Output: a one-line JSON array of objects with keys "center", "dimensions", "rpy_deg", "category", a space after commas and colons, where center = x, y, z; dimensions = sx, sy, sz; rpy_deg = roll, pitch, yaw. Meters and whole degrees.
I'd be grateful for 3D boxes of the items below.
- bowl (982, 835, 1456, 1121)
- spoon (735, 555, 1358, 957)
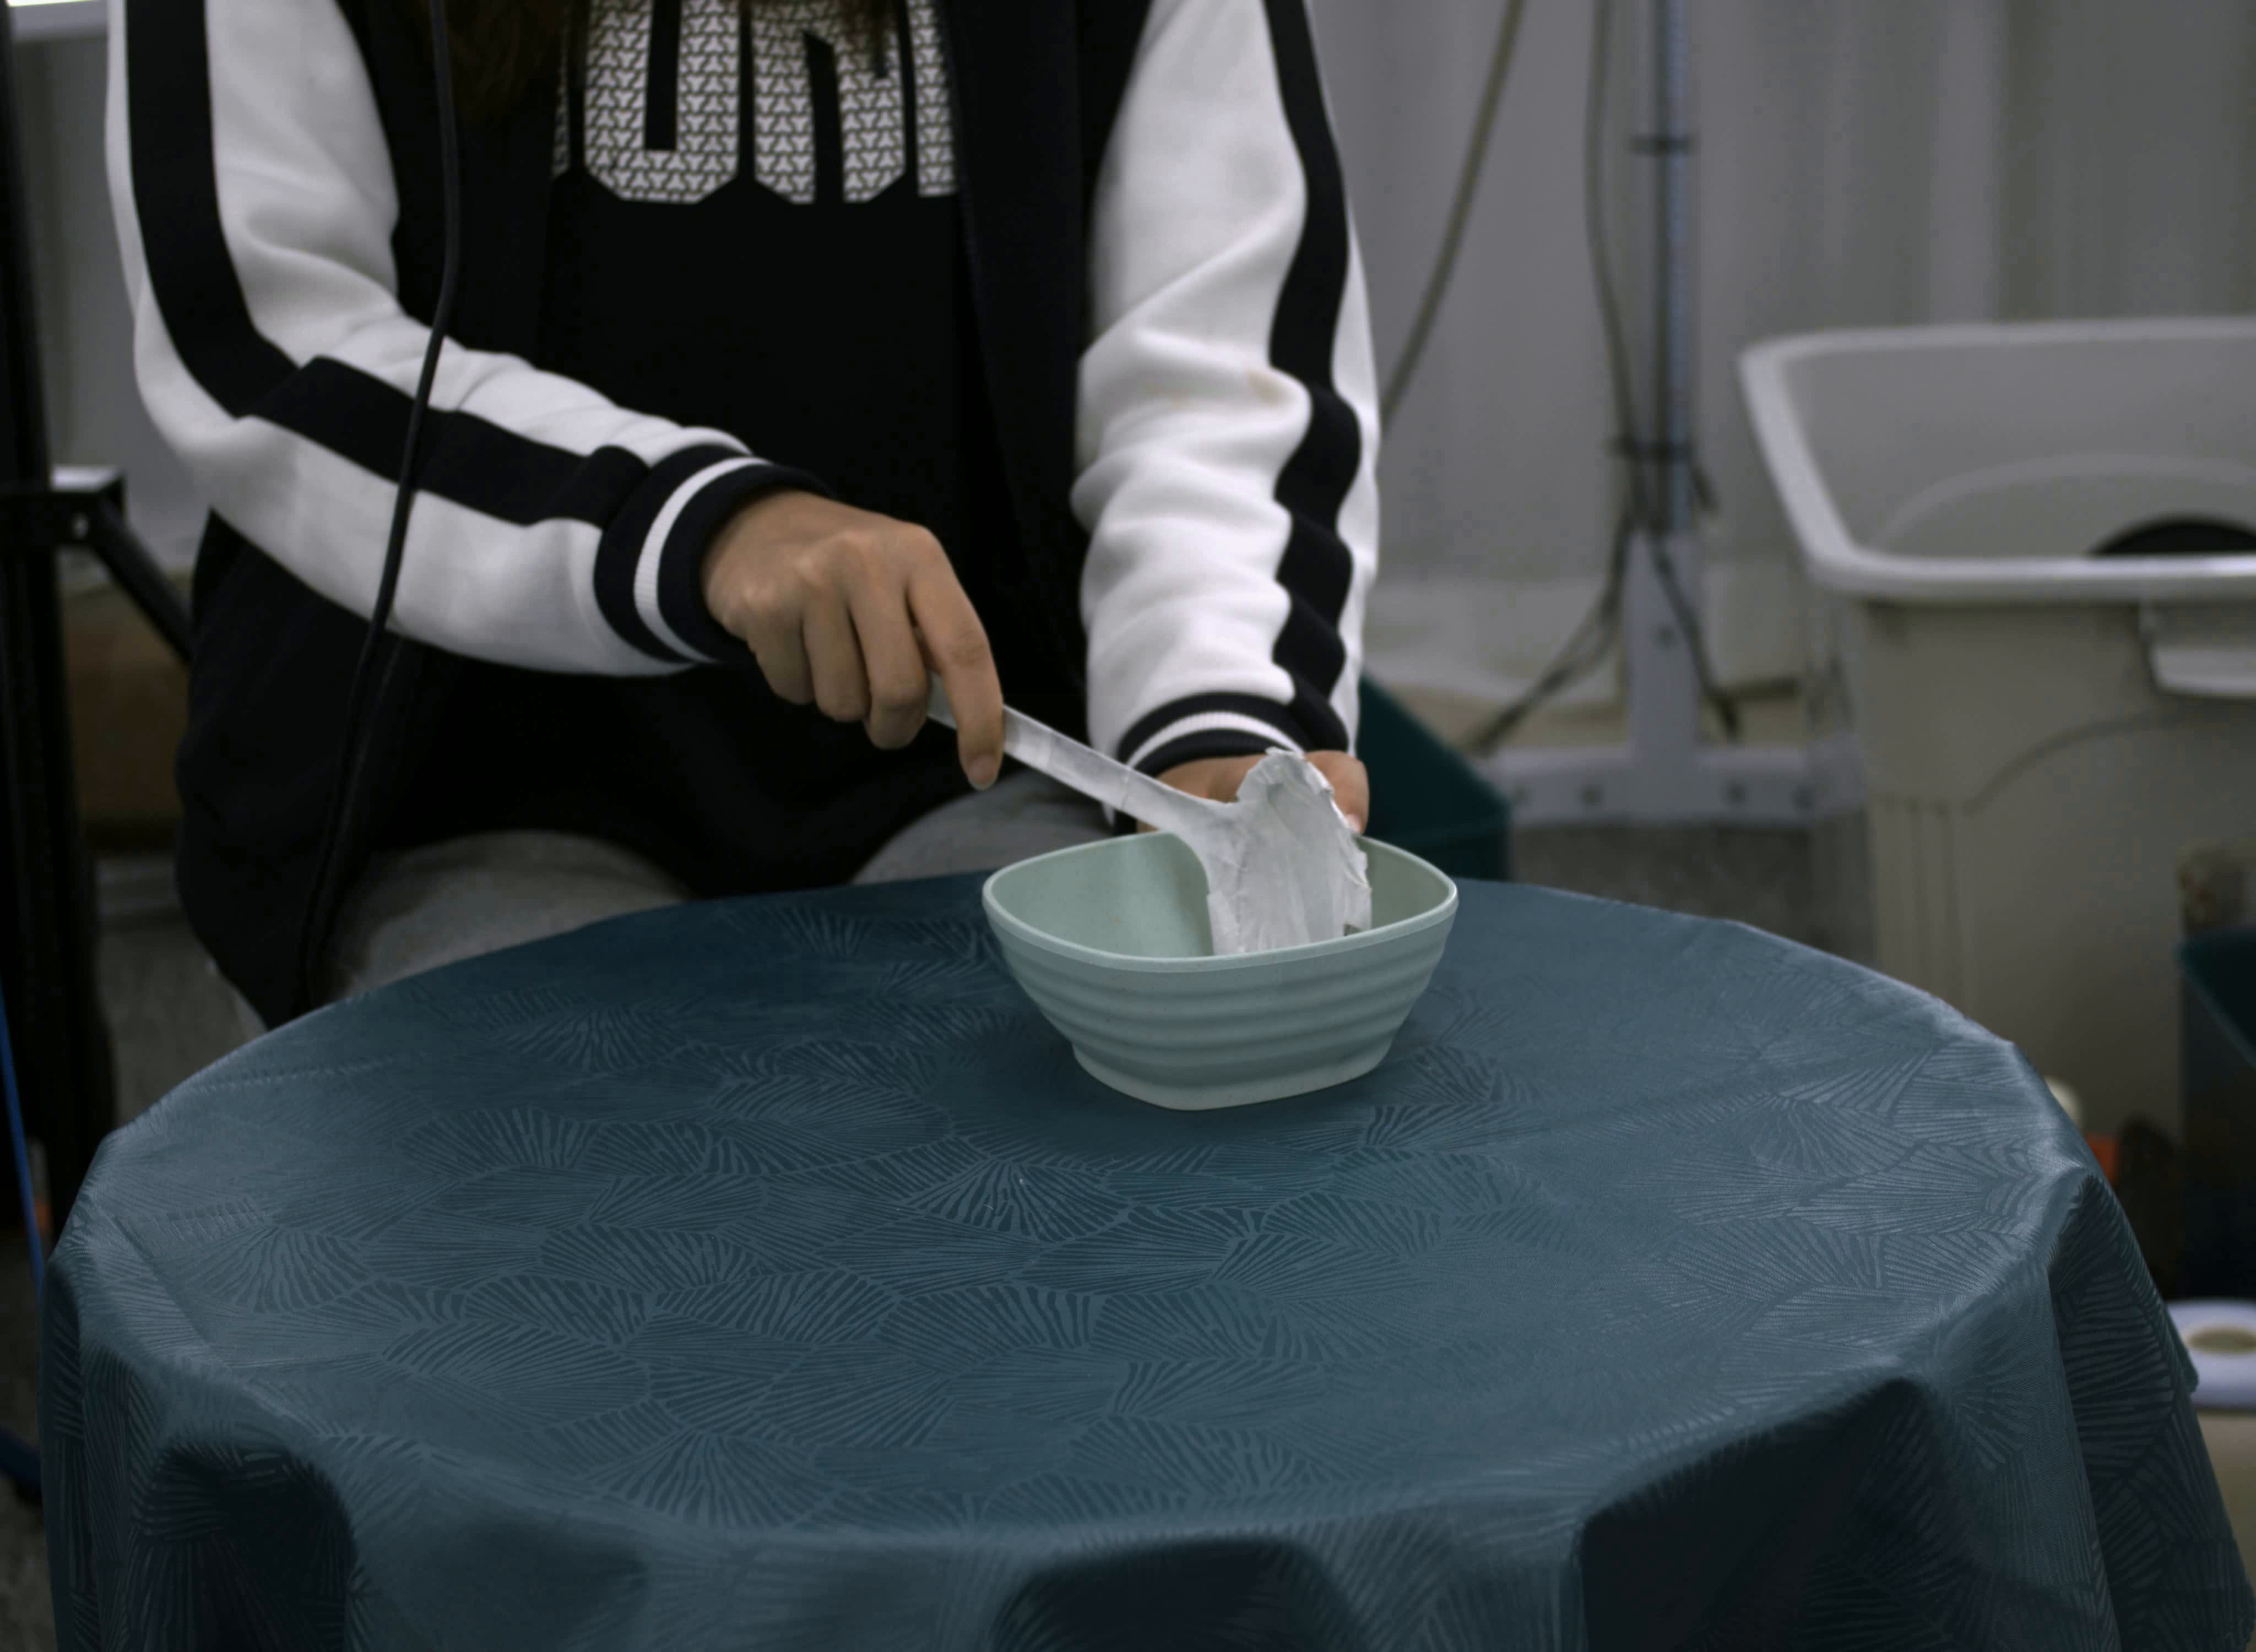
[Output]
[{"center": [0.029, 0.049, 1.665], "dimensions": [0.150, 0.058, 0.152], "rpy_deg": [-3, 16, -1], "category": "bowl"}, {"center": [-0.032, -0.024, 1.700], "dimensions": [0.282, 0.101, 0.058], "rpy_deg": [30, 23, 26], "category": "spoon"}]
